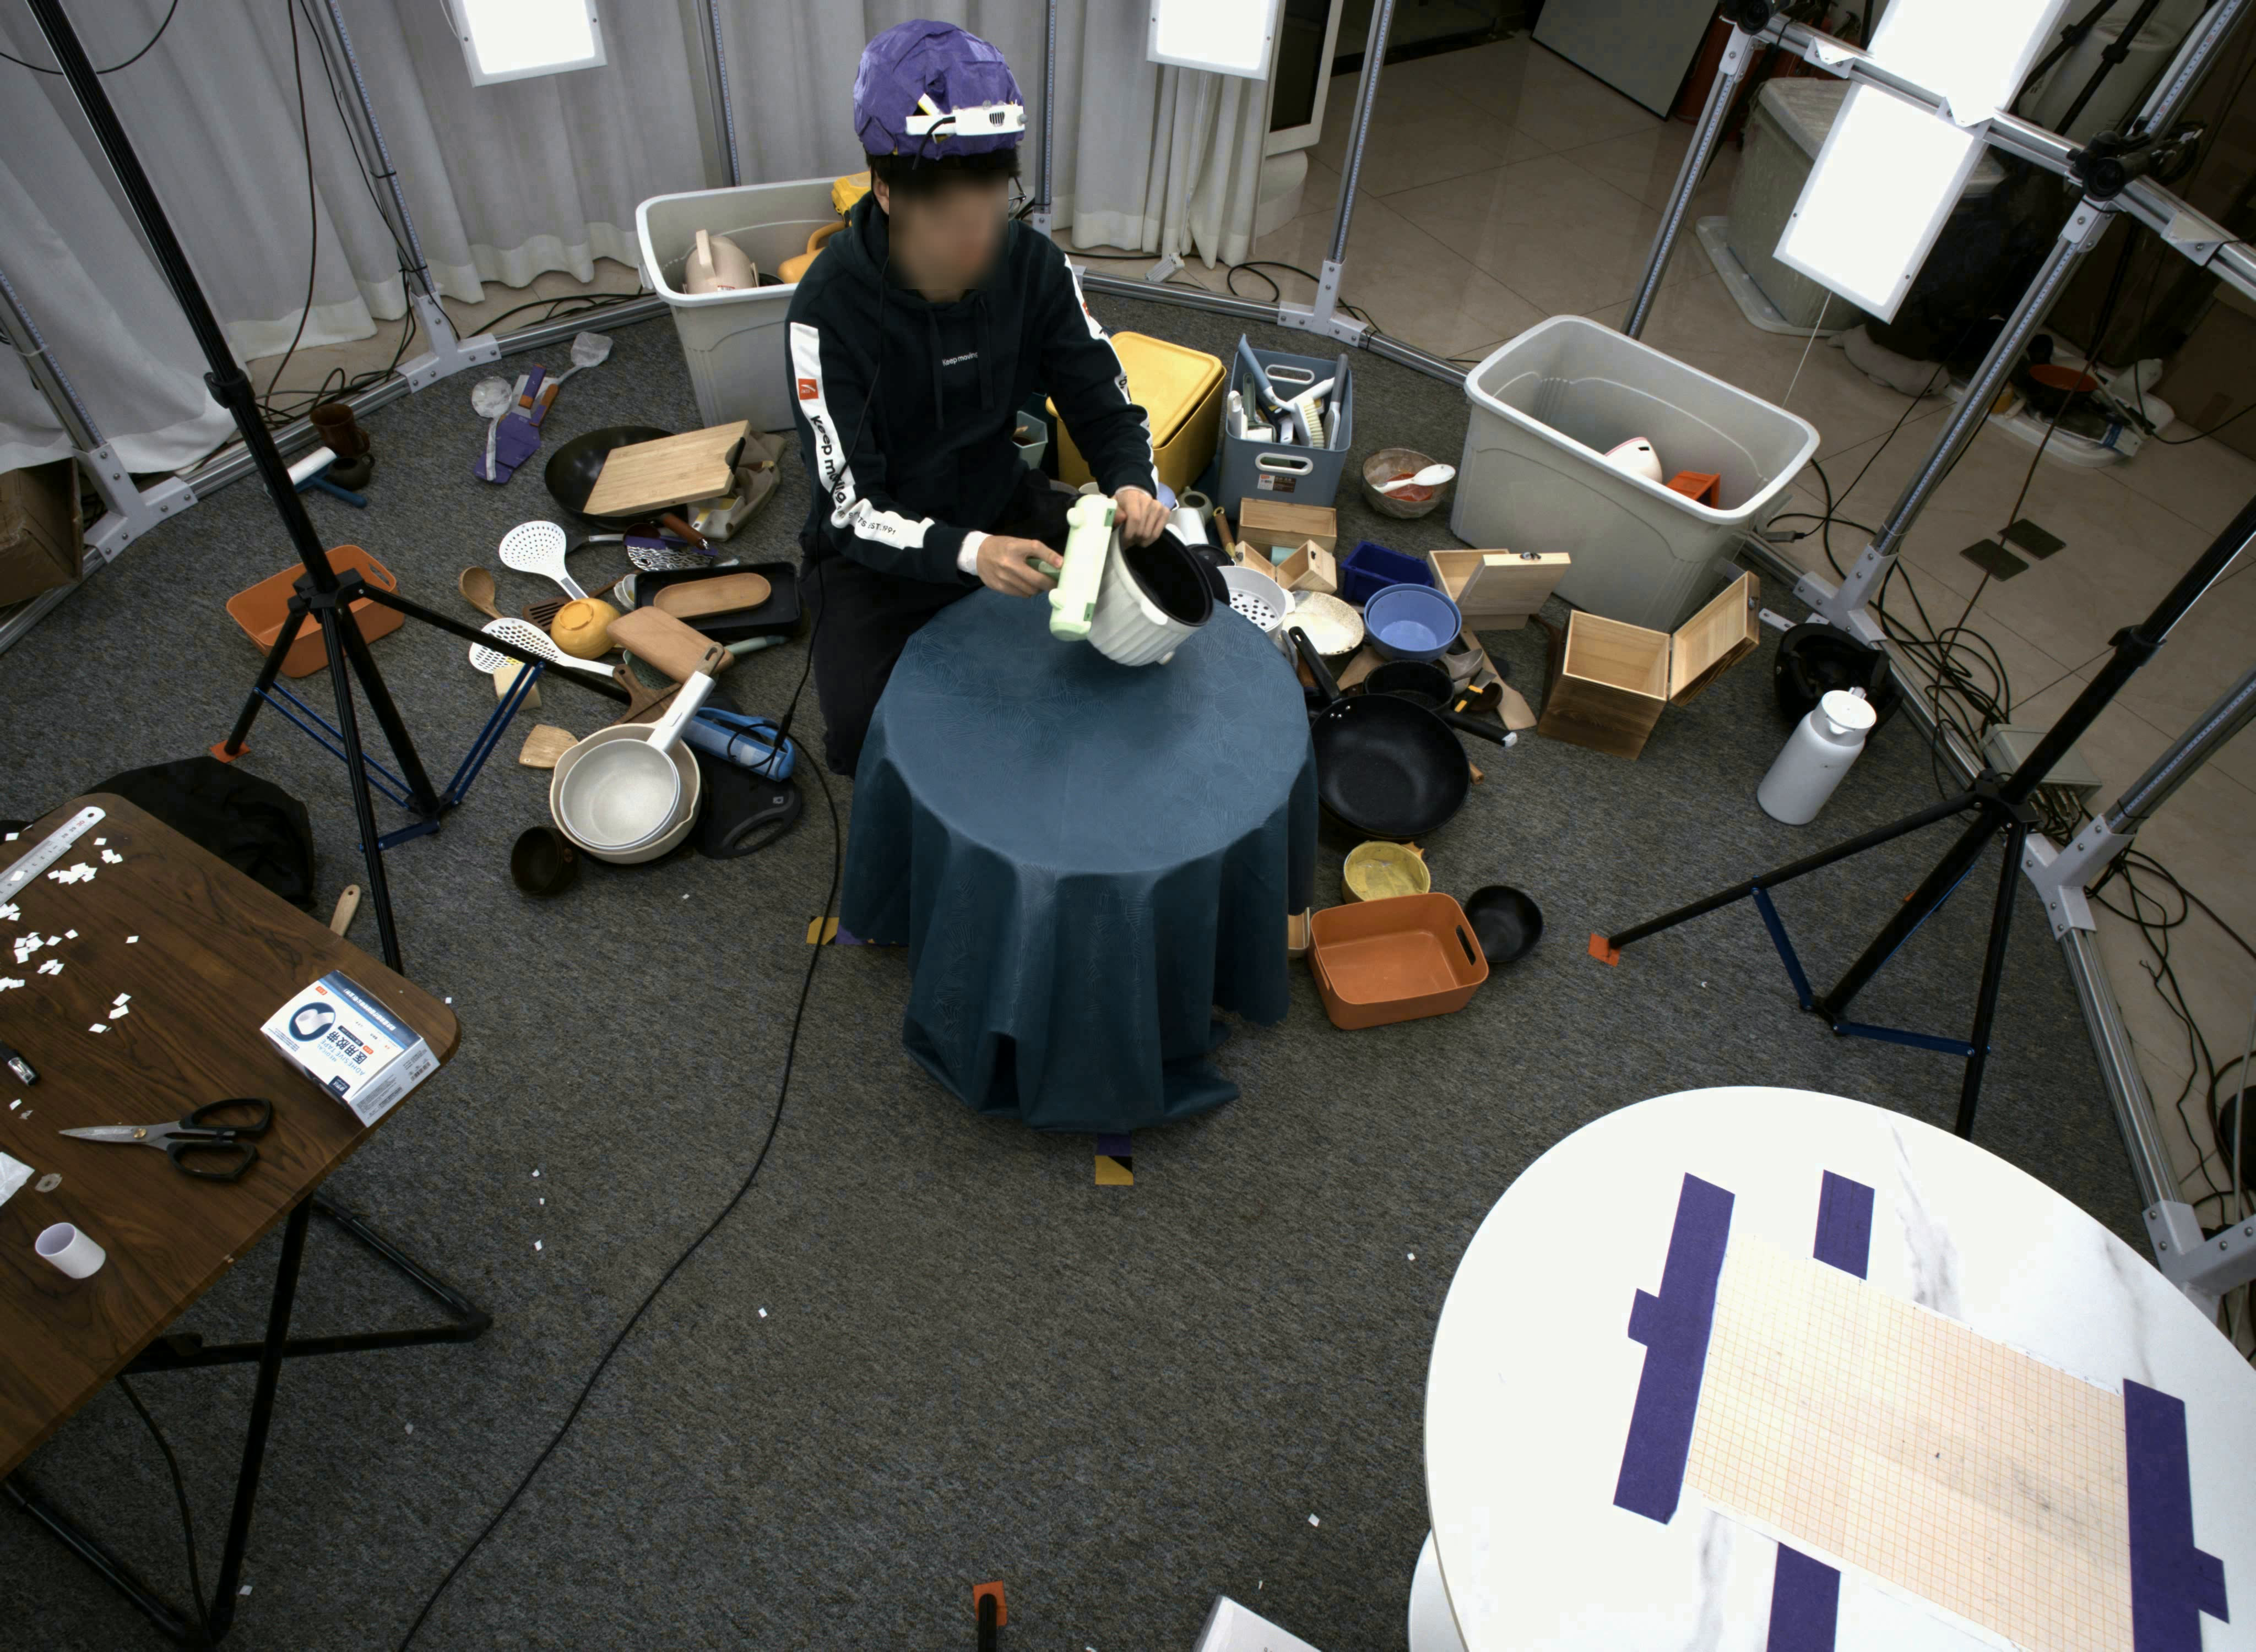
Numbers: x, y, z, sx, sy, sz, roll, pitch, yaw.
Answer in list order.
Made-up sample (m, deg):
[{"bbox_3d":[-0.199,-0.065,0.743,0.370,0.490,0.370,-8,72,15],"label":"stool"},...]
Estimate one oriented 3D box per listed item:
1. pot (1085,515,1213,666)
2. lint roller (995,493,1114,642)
[{"bbox_3d":[0.013,-0.321,1.818,0.188,0.141,0.246,35,40,-19],"label":"pot"},{"bbox_3d":[-0.115,-0.352,1.738,0.184,0.081,0.200,6,77,26],"label":"lint roller"}]
